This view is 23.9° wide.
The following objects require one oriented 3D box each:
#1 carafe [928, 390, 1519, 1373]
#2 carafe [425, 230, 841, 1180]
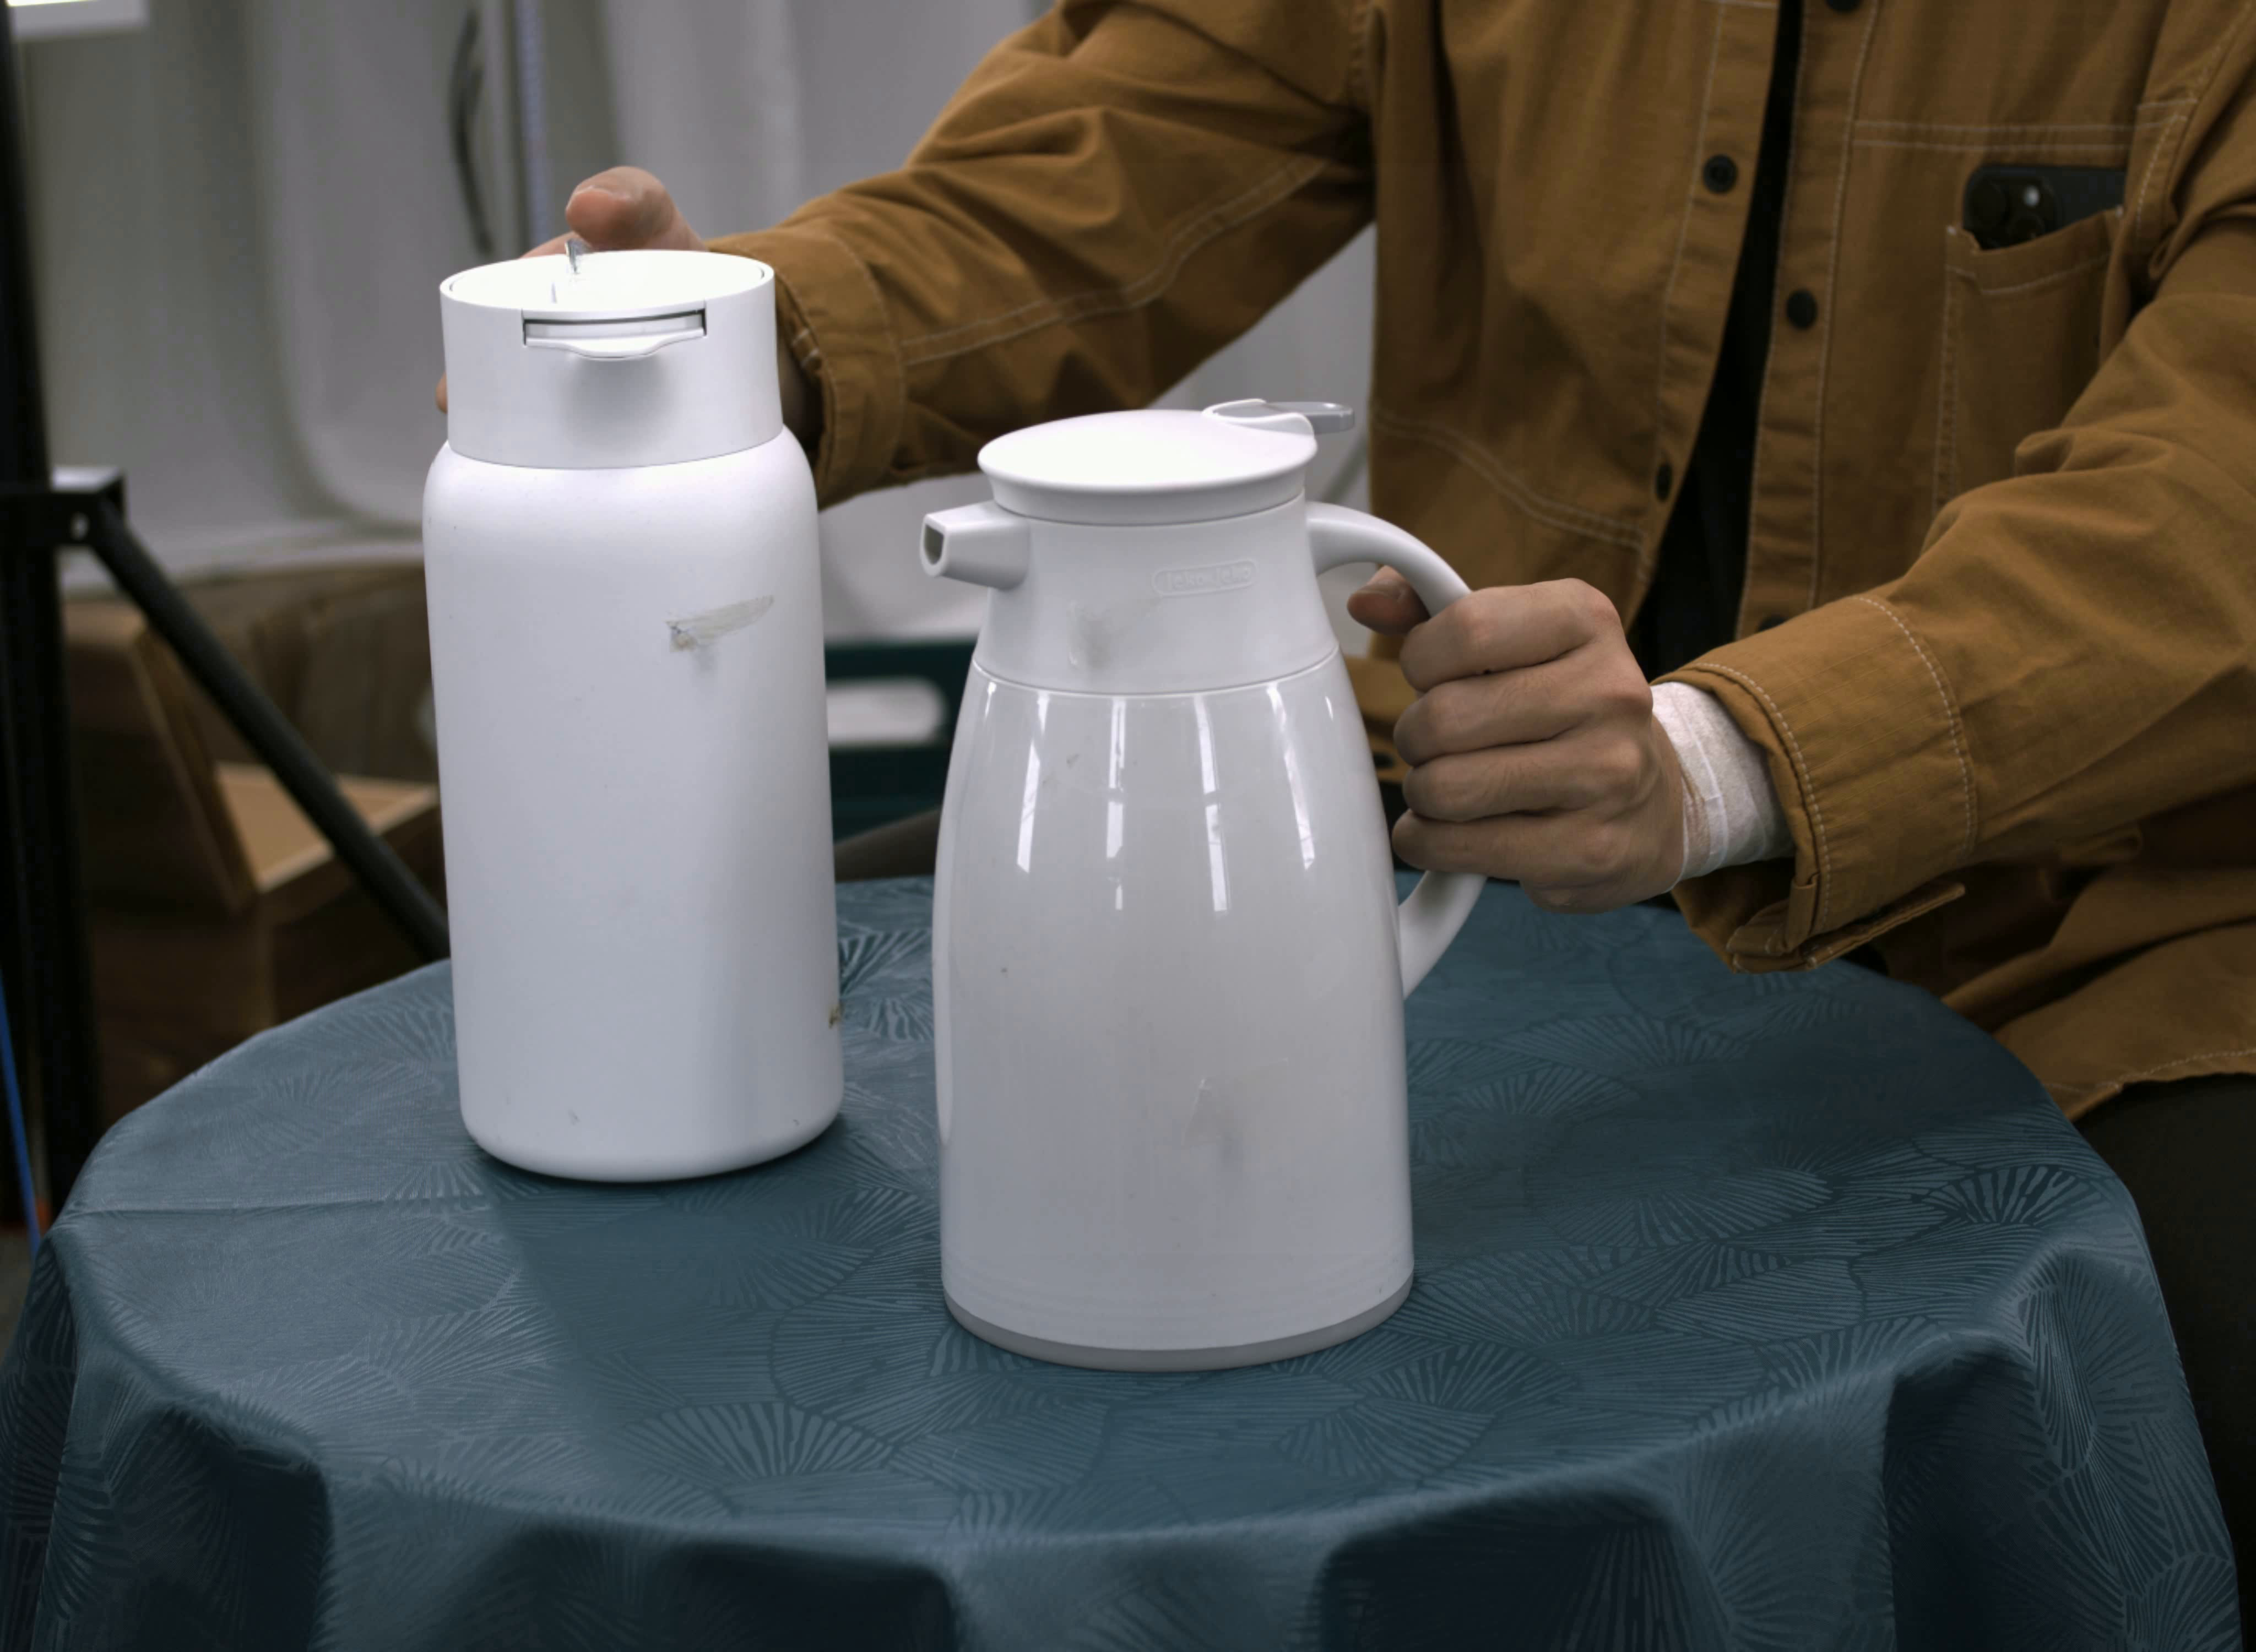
[{"bbox_3d":[0.028,0.007,1.453,0.164,0.248,0.135,-7,16,-19],"label":"carafe"},{"bbox_3d":[-0.152,-0.041,1.614,0.123,0.269,0.174,-5,16,-6],"label":"carafe"}]
